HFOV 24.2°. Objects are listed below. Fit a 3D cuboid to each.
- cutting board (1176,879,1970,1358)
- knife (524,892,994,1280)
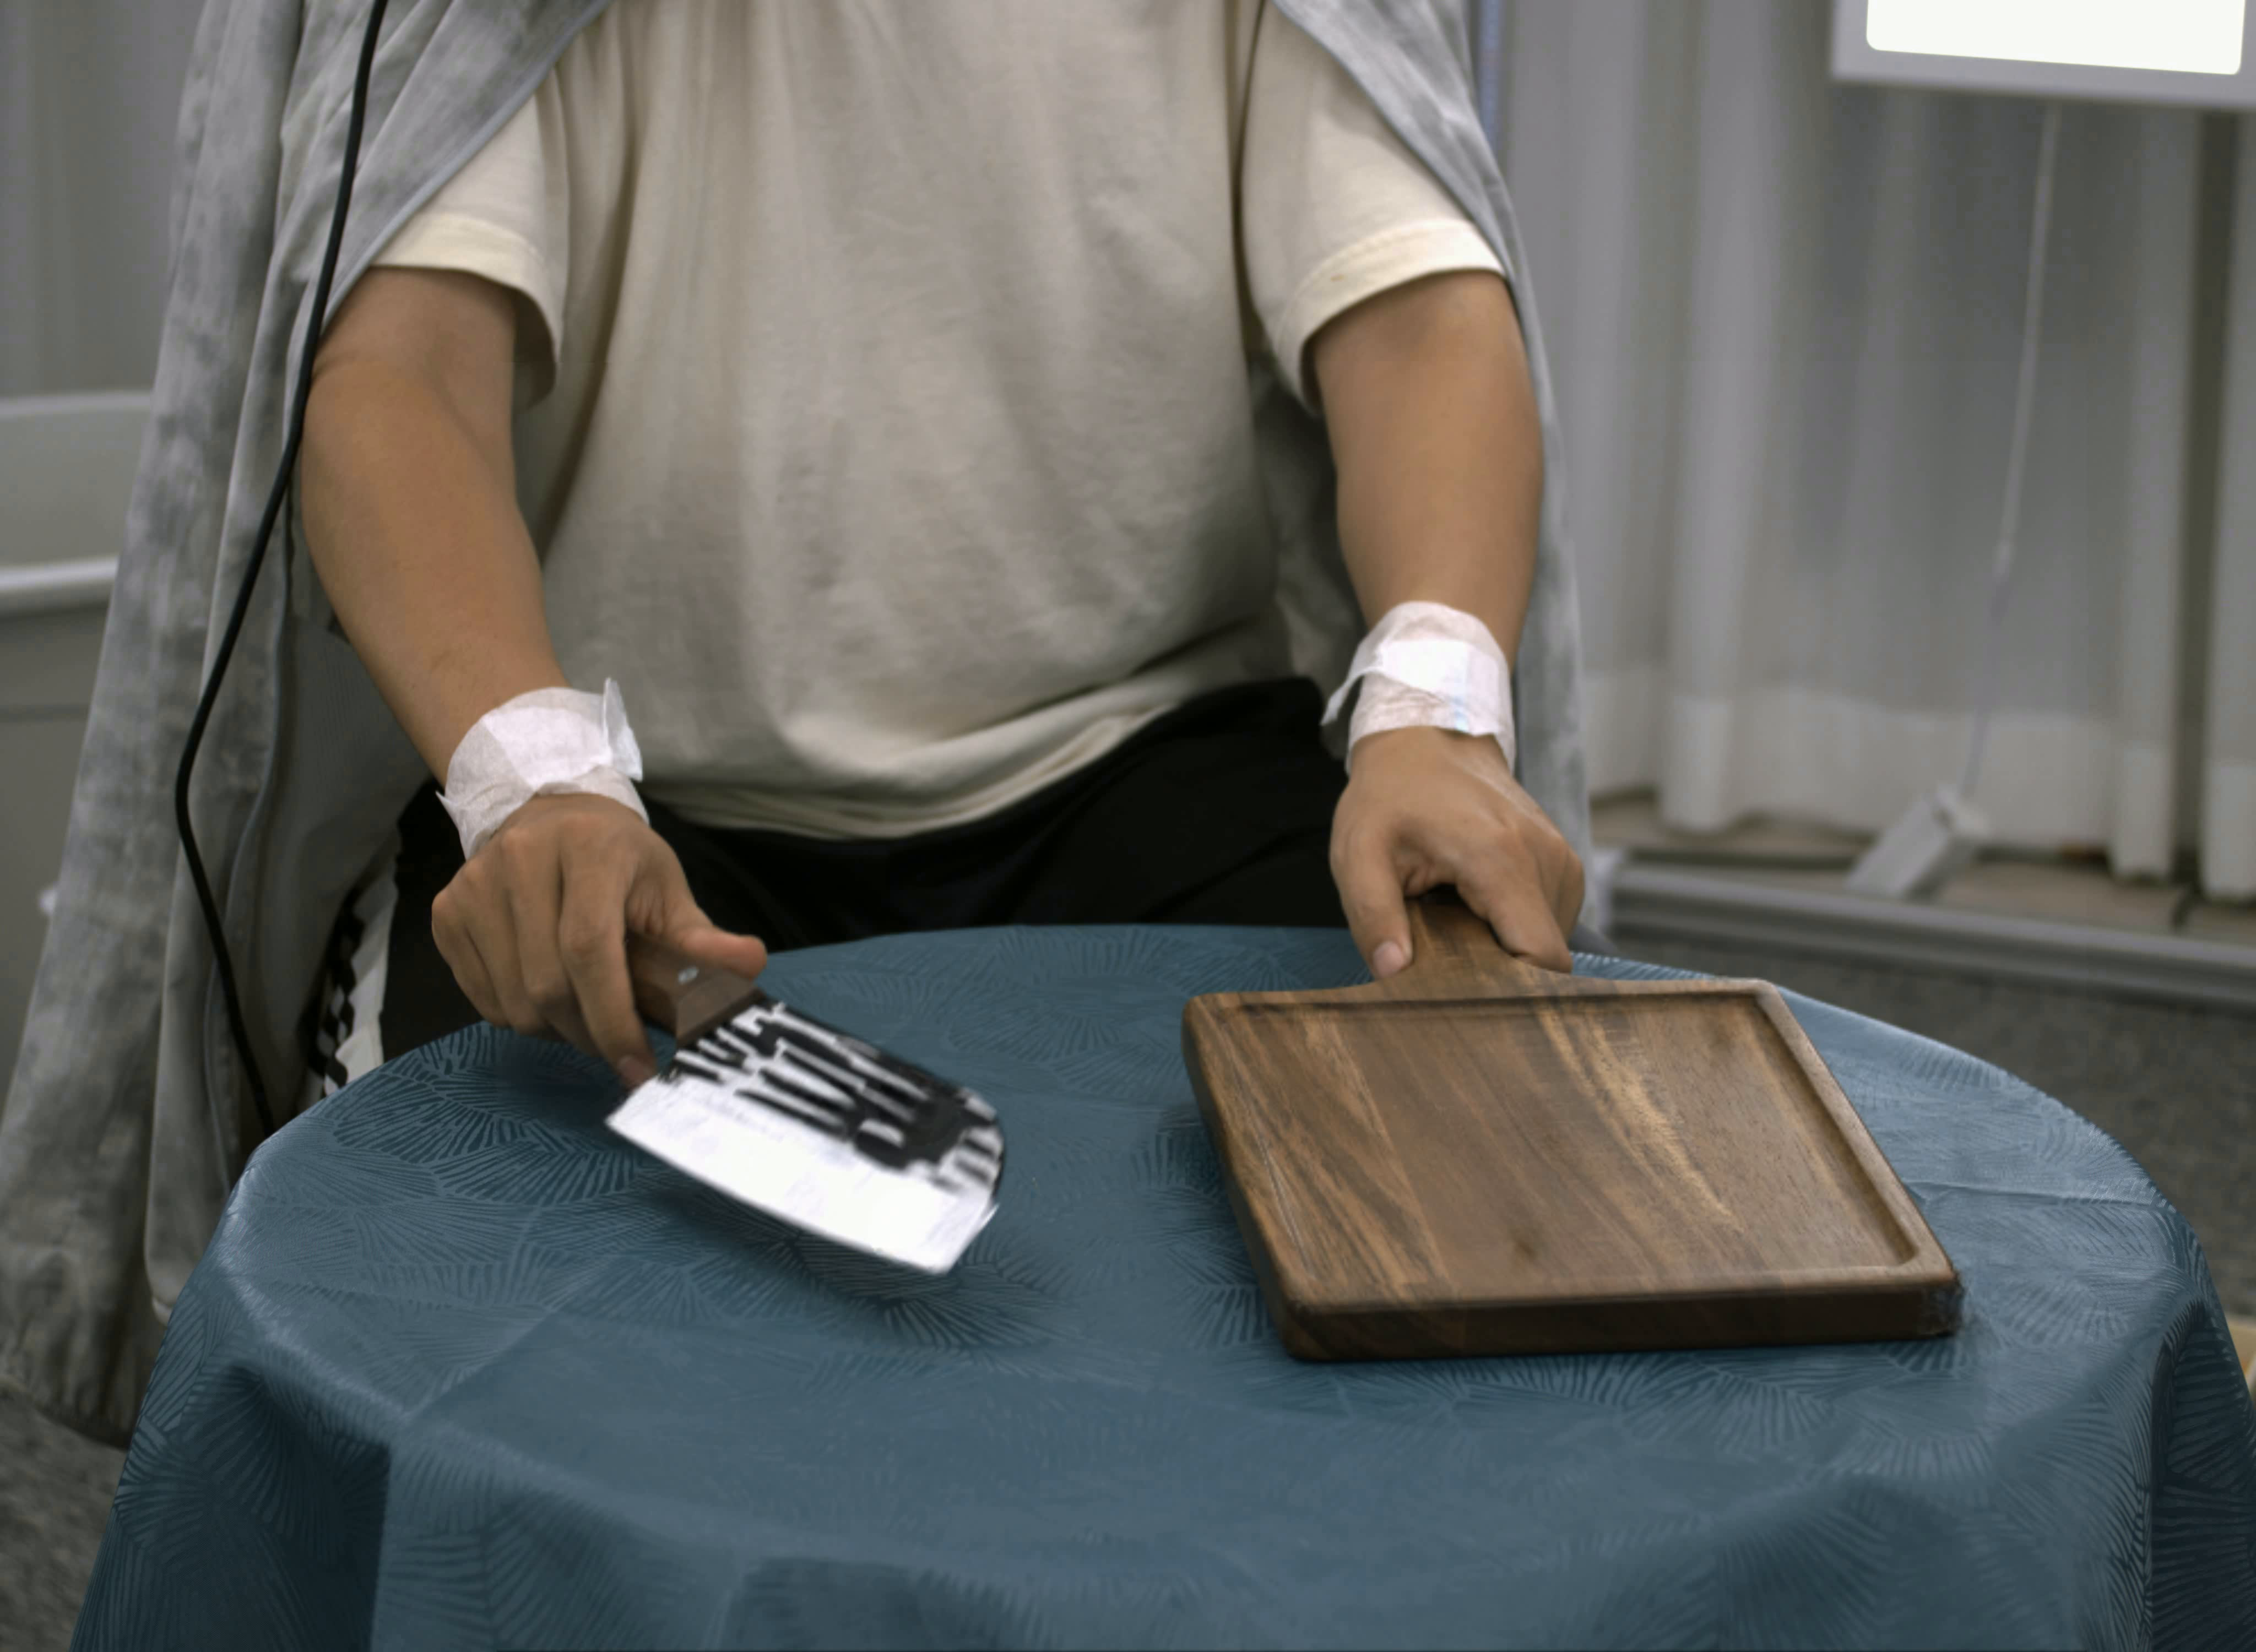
[{"bbox_3d":[0.123,0.083,1.654,0.201,0.023,0.349,-1,19,-7],"label":"cutting board"},{"bbox_3d":[-0.122,0.078,1.607,0.068,0.024,0.295,-37,33,-21],"label":"knife"}]
